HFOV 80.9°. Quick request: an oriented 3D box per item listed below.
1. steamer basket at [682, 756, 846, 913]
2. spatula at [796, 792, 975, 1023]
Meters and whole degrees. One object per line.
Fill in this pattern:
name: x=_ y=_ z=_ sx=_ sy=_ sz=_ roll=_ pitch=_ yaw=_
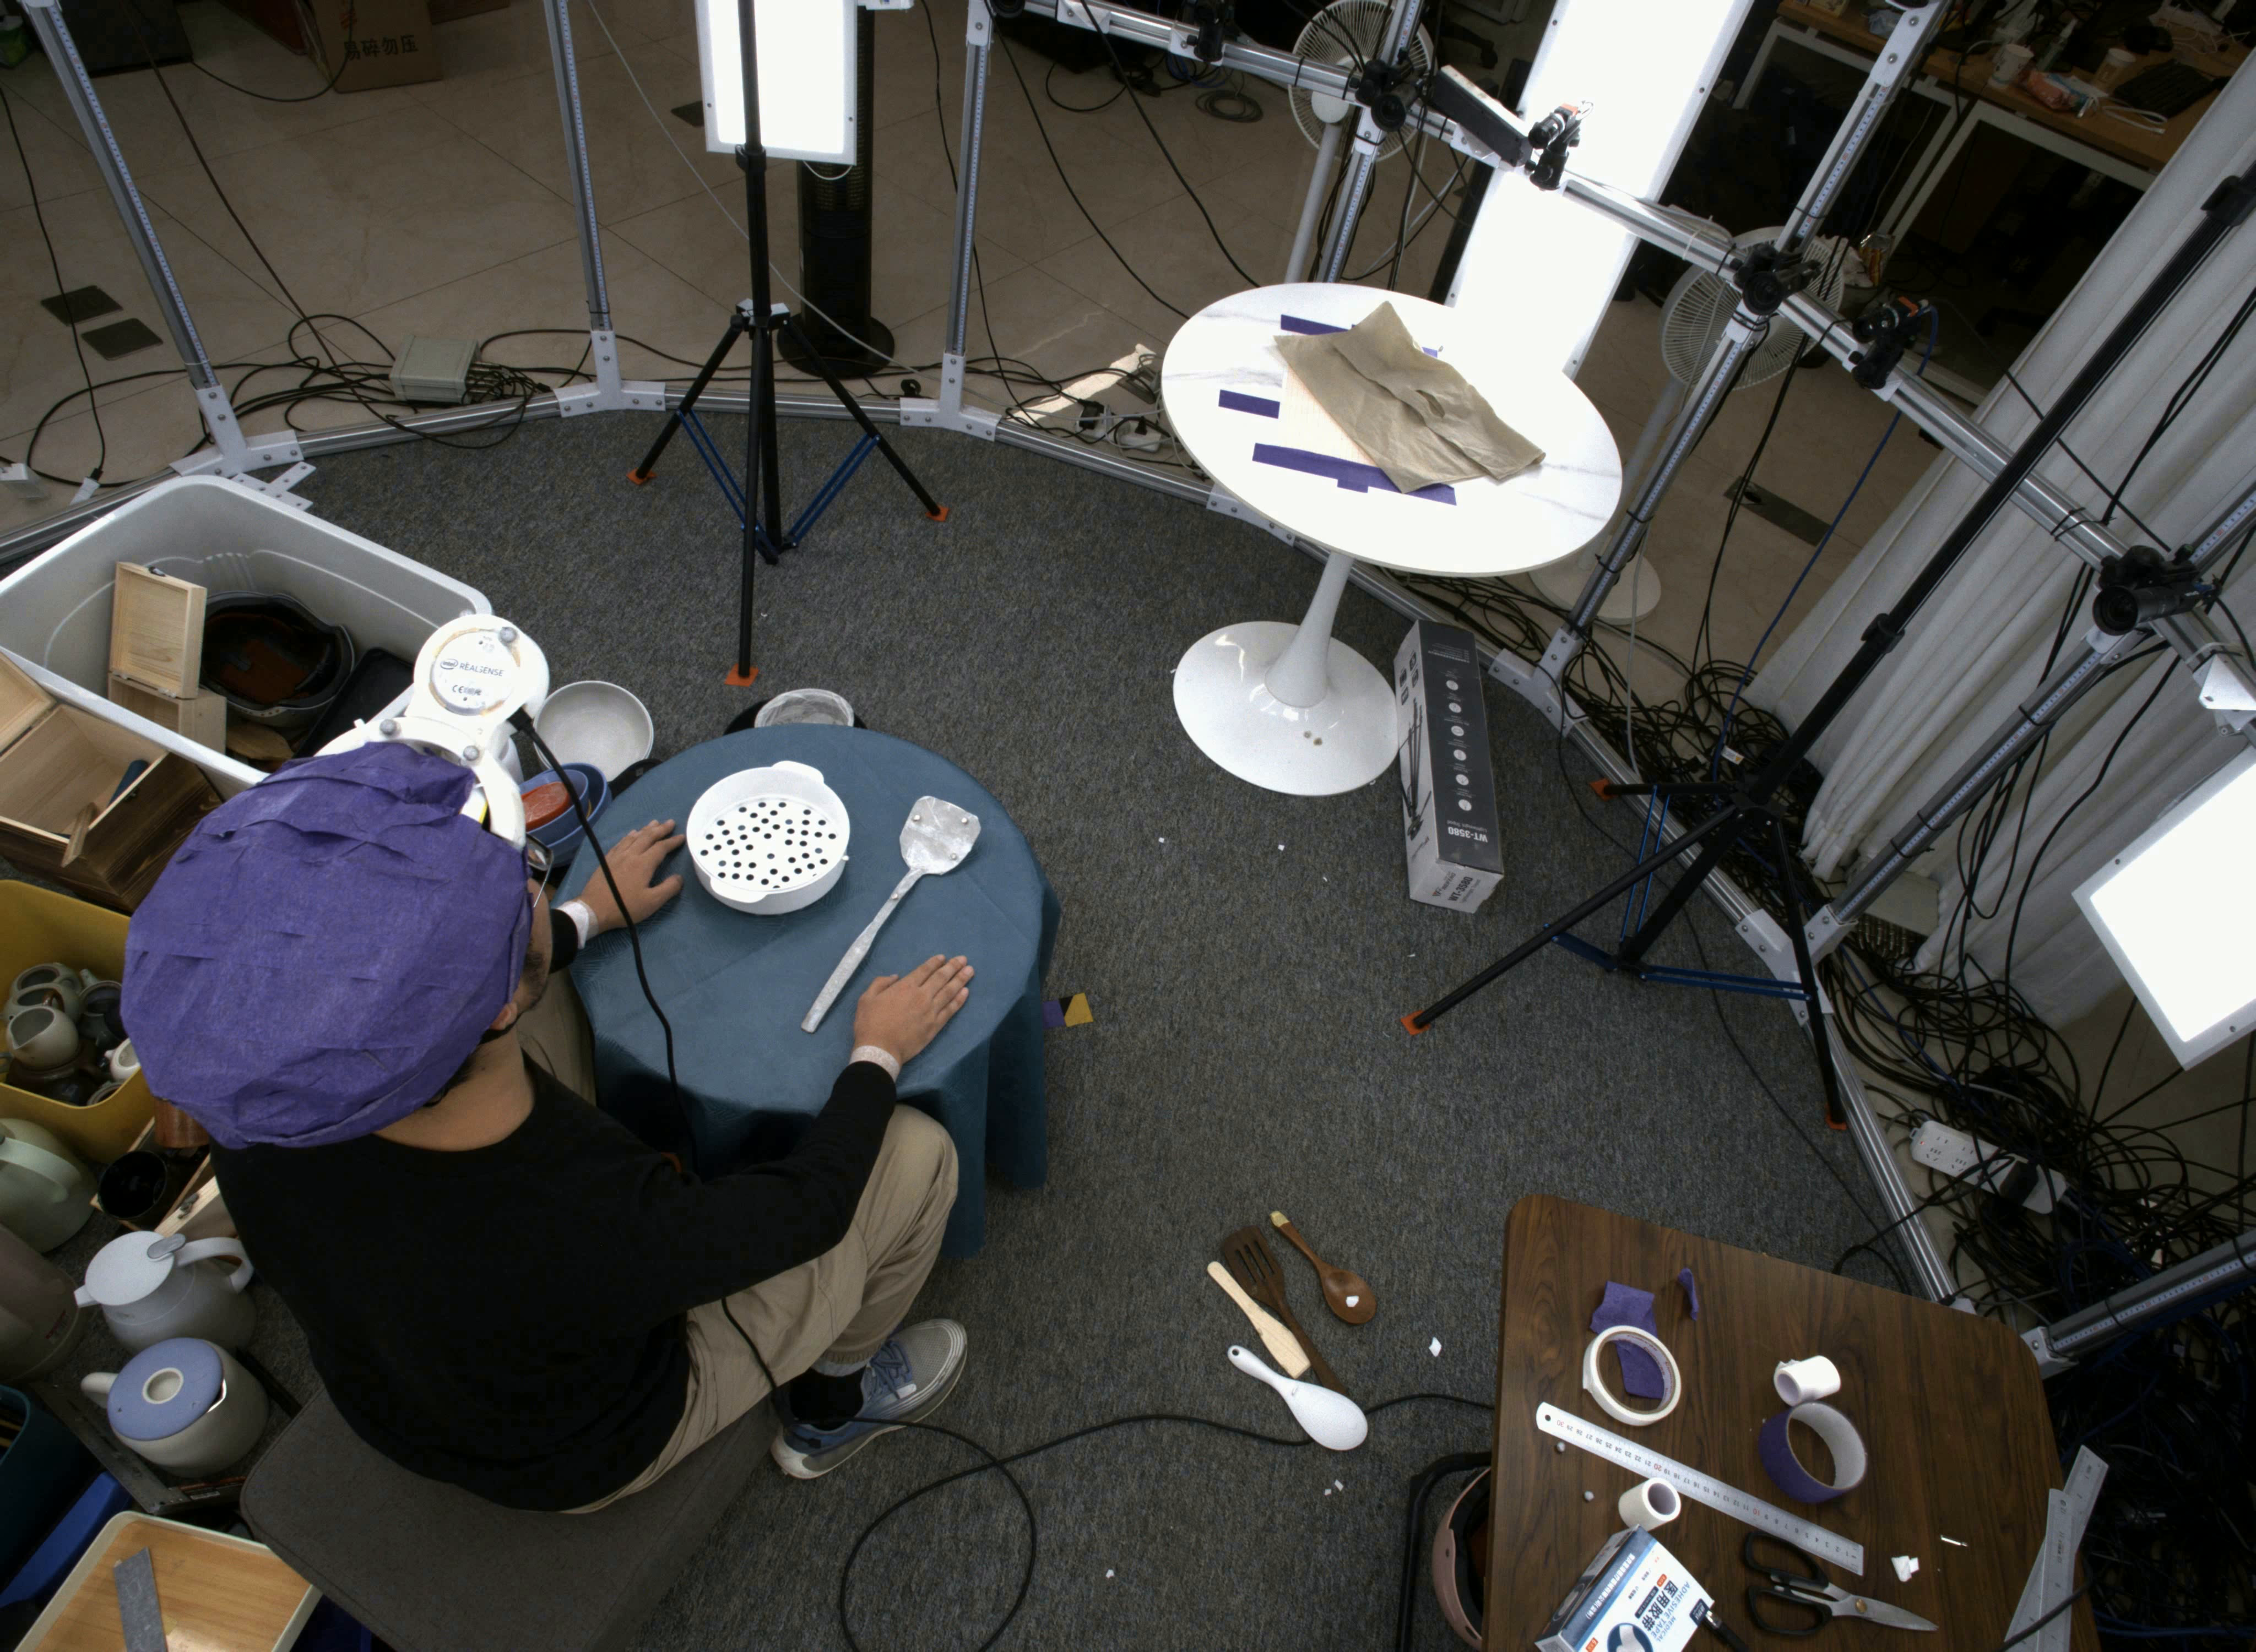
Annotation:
steamer basket: x=-0.462 y=0.016 z=1.652 sx=0.200 sy=0.070 sz=0.228 roll=16 pitch=52 yaw=-1
spatula: x=-0.314 y=0.102 z=1.647 sx=0.097 sy=0.045 sz=0.362 roll=27 pitch=52 yaw=4
